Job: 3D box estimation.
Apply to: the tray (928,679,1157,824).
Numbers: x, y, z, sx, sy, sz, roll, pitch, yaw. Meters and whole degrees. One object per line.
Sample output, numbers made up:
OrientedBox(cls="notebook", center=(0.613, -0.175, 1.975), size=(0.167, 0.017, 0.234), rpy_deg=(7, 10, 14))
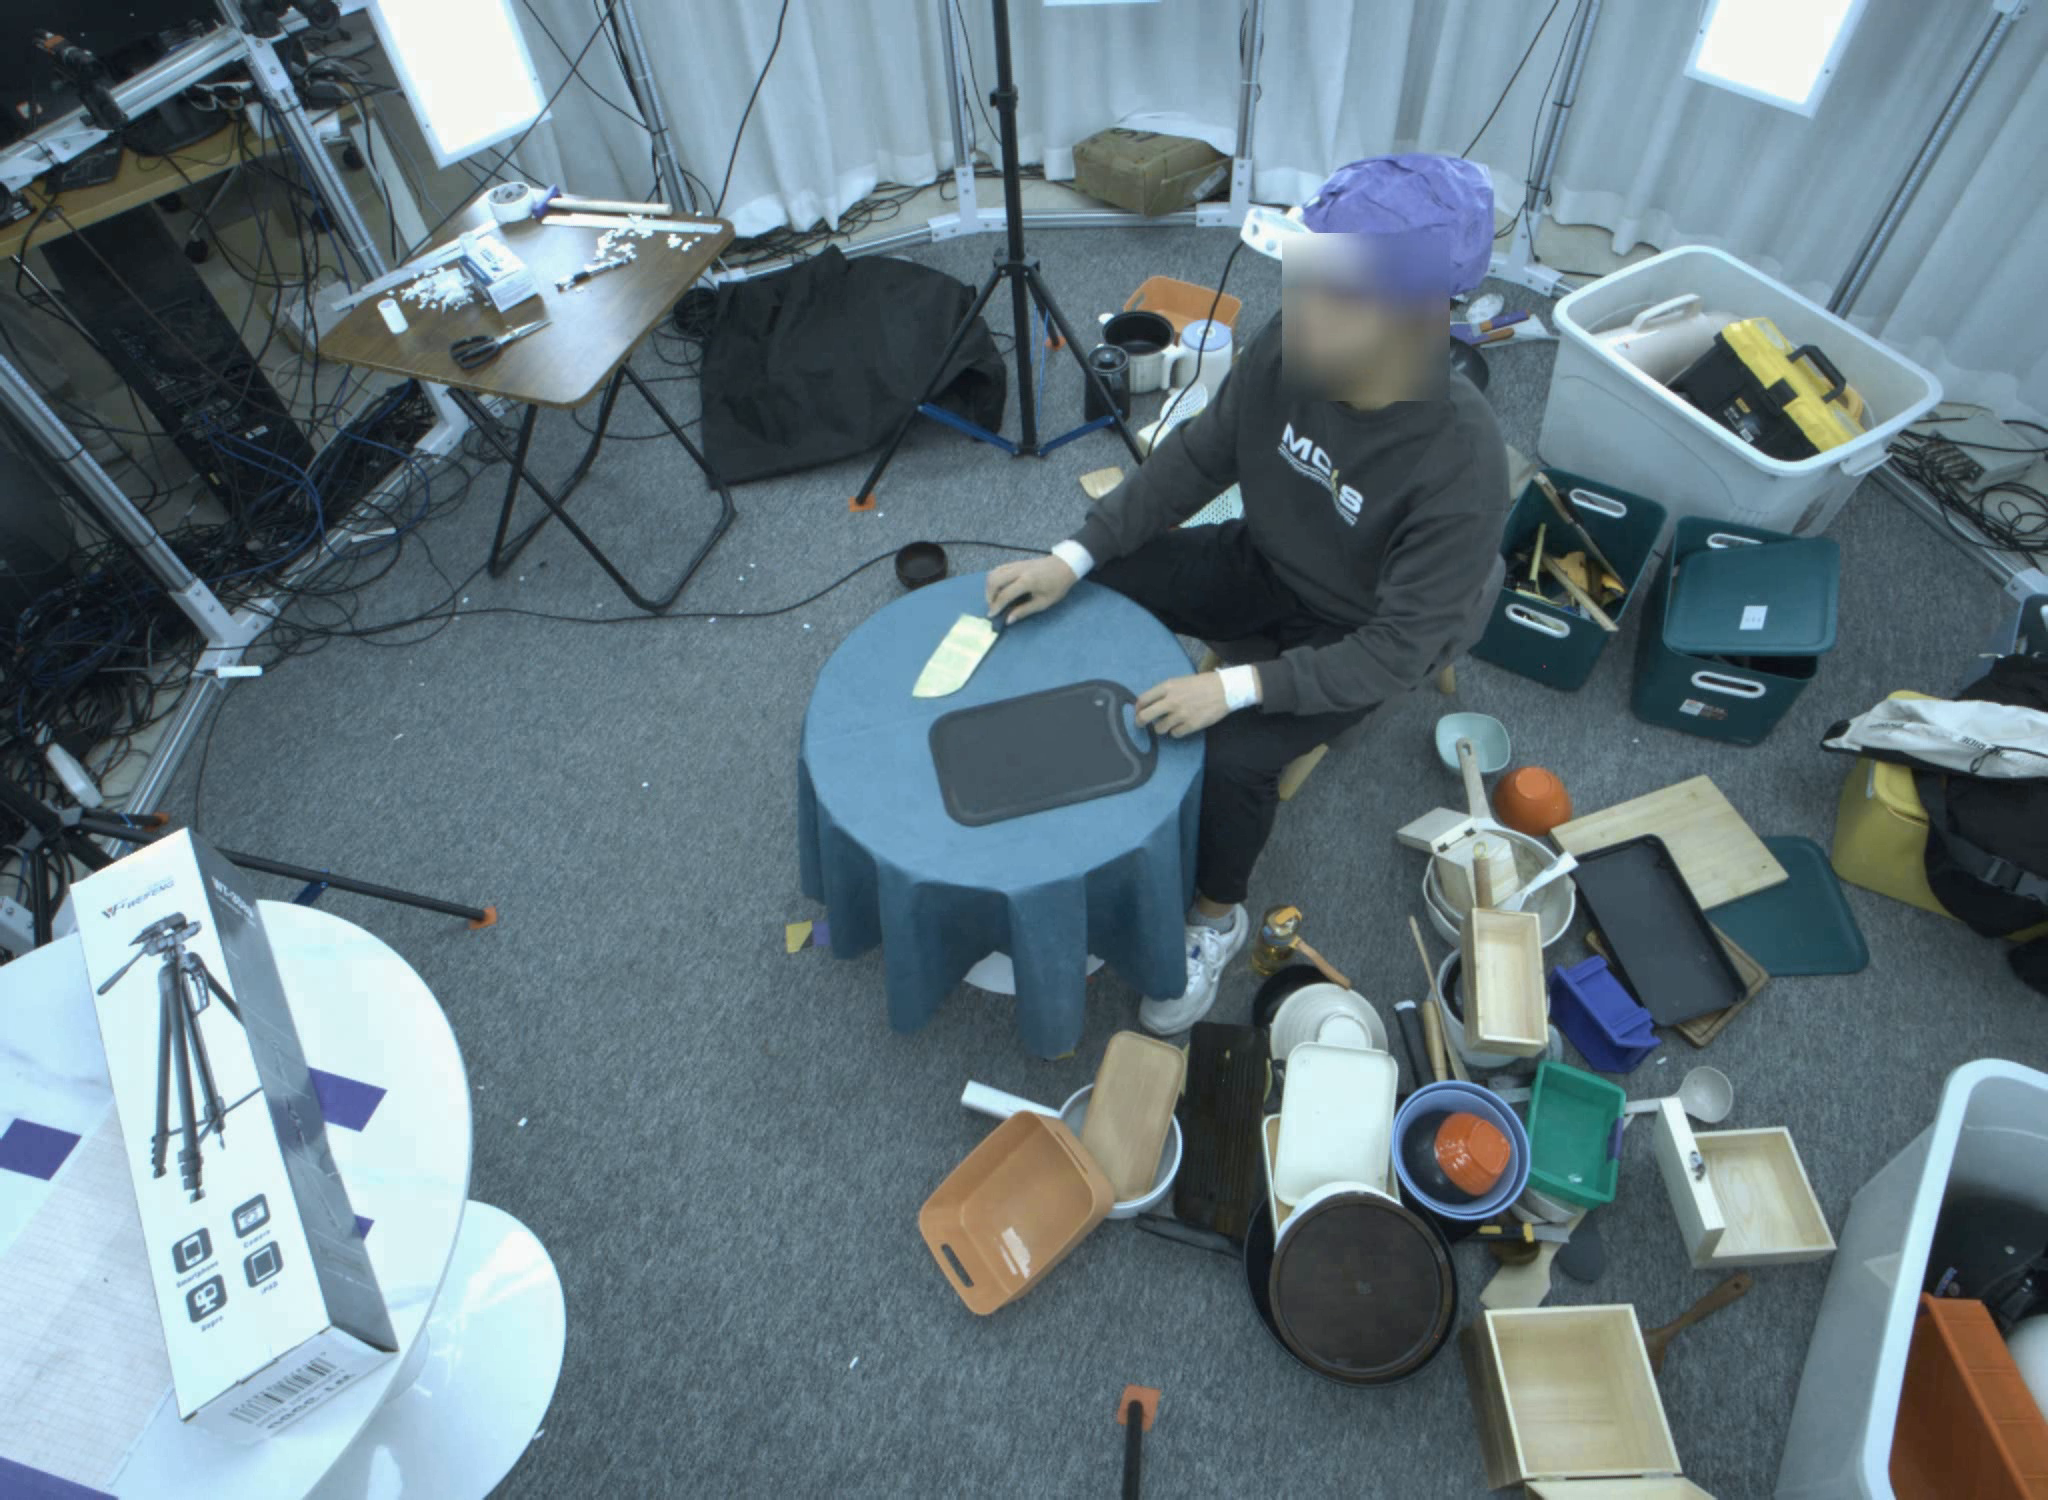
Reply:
OrientedBox(cls="tray", center=(0.031, -0.006, 1.793), size=(0.327, 0.010, 0.208), rpy_deg=(-12, 55, -7))

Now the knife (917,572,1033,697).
OrientedBox(cls="knife", center=(-0.076, -0.184, 1.920), size=(0.080, 0.027, 0.290), rpy_deg=(27, 60, 17))
